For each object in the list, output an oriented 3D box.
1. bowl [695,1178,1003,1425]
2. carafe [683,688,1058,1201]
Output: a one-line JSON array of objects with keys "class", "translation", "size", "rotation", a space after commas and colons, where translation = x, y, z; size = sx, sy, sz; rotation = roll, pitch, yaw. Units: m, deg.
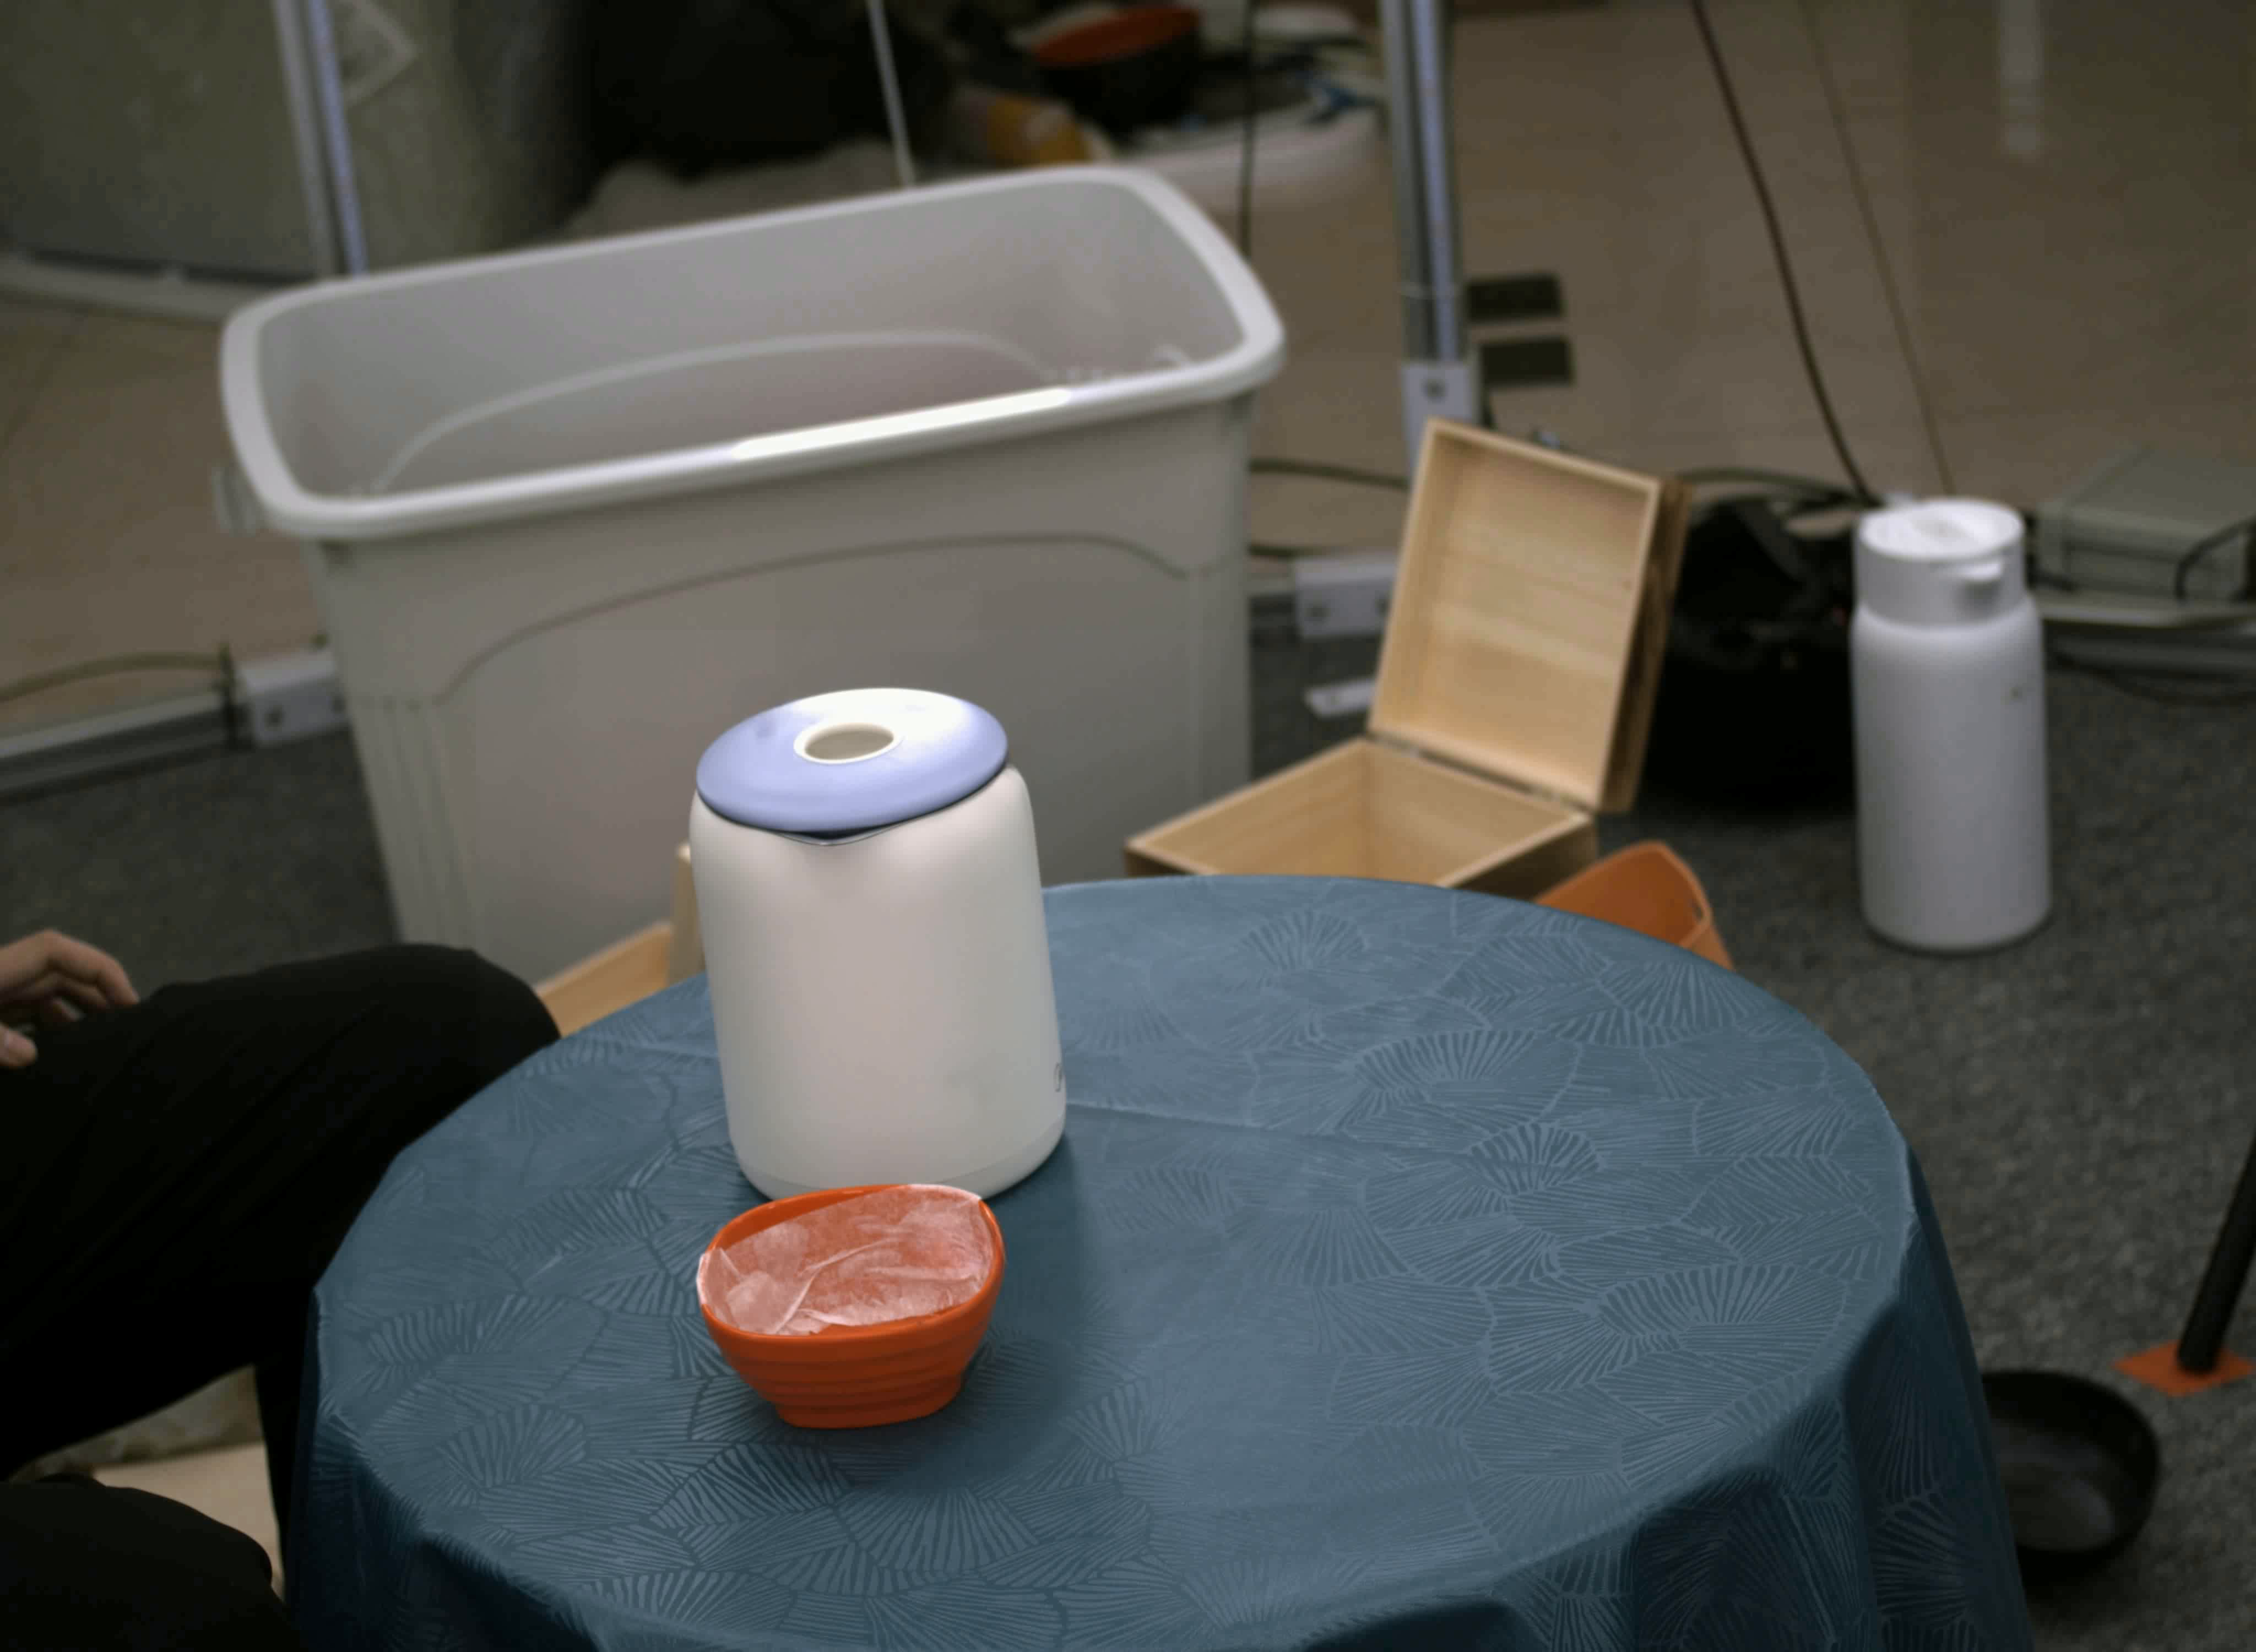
[{"class": "bowl", "translation": [-0.098, 0.175, 2.027], "size": [0.119, 0.052, 0.117], "rotation": [-3, 27, 2]}, {"class": "carafe", "translation": [-0.097, 0.039, 2.178], "size": [0.132, 0.185, 0.188], "rotation": [-3, 23, 3]}]
